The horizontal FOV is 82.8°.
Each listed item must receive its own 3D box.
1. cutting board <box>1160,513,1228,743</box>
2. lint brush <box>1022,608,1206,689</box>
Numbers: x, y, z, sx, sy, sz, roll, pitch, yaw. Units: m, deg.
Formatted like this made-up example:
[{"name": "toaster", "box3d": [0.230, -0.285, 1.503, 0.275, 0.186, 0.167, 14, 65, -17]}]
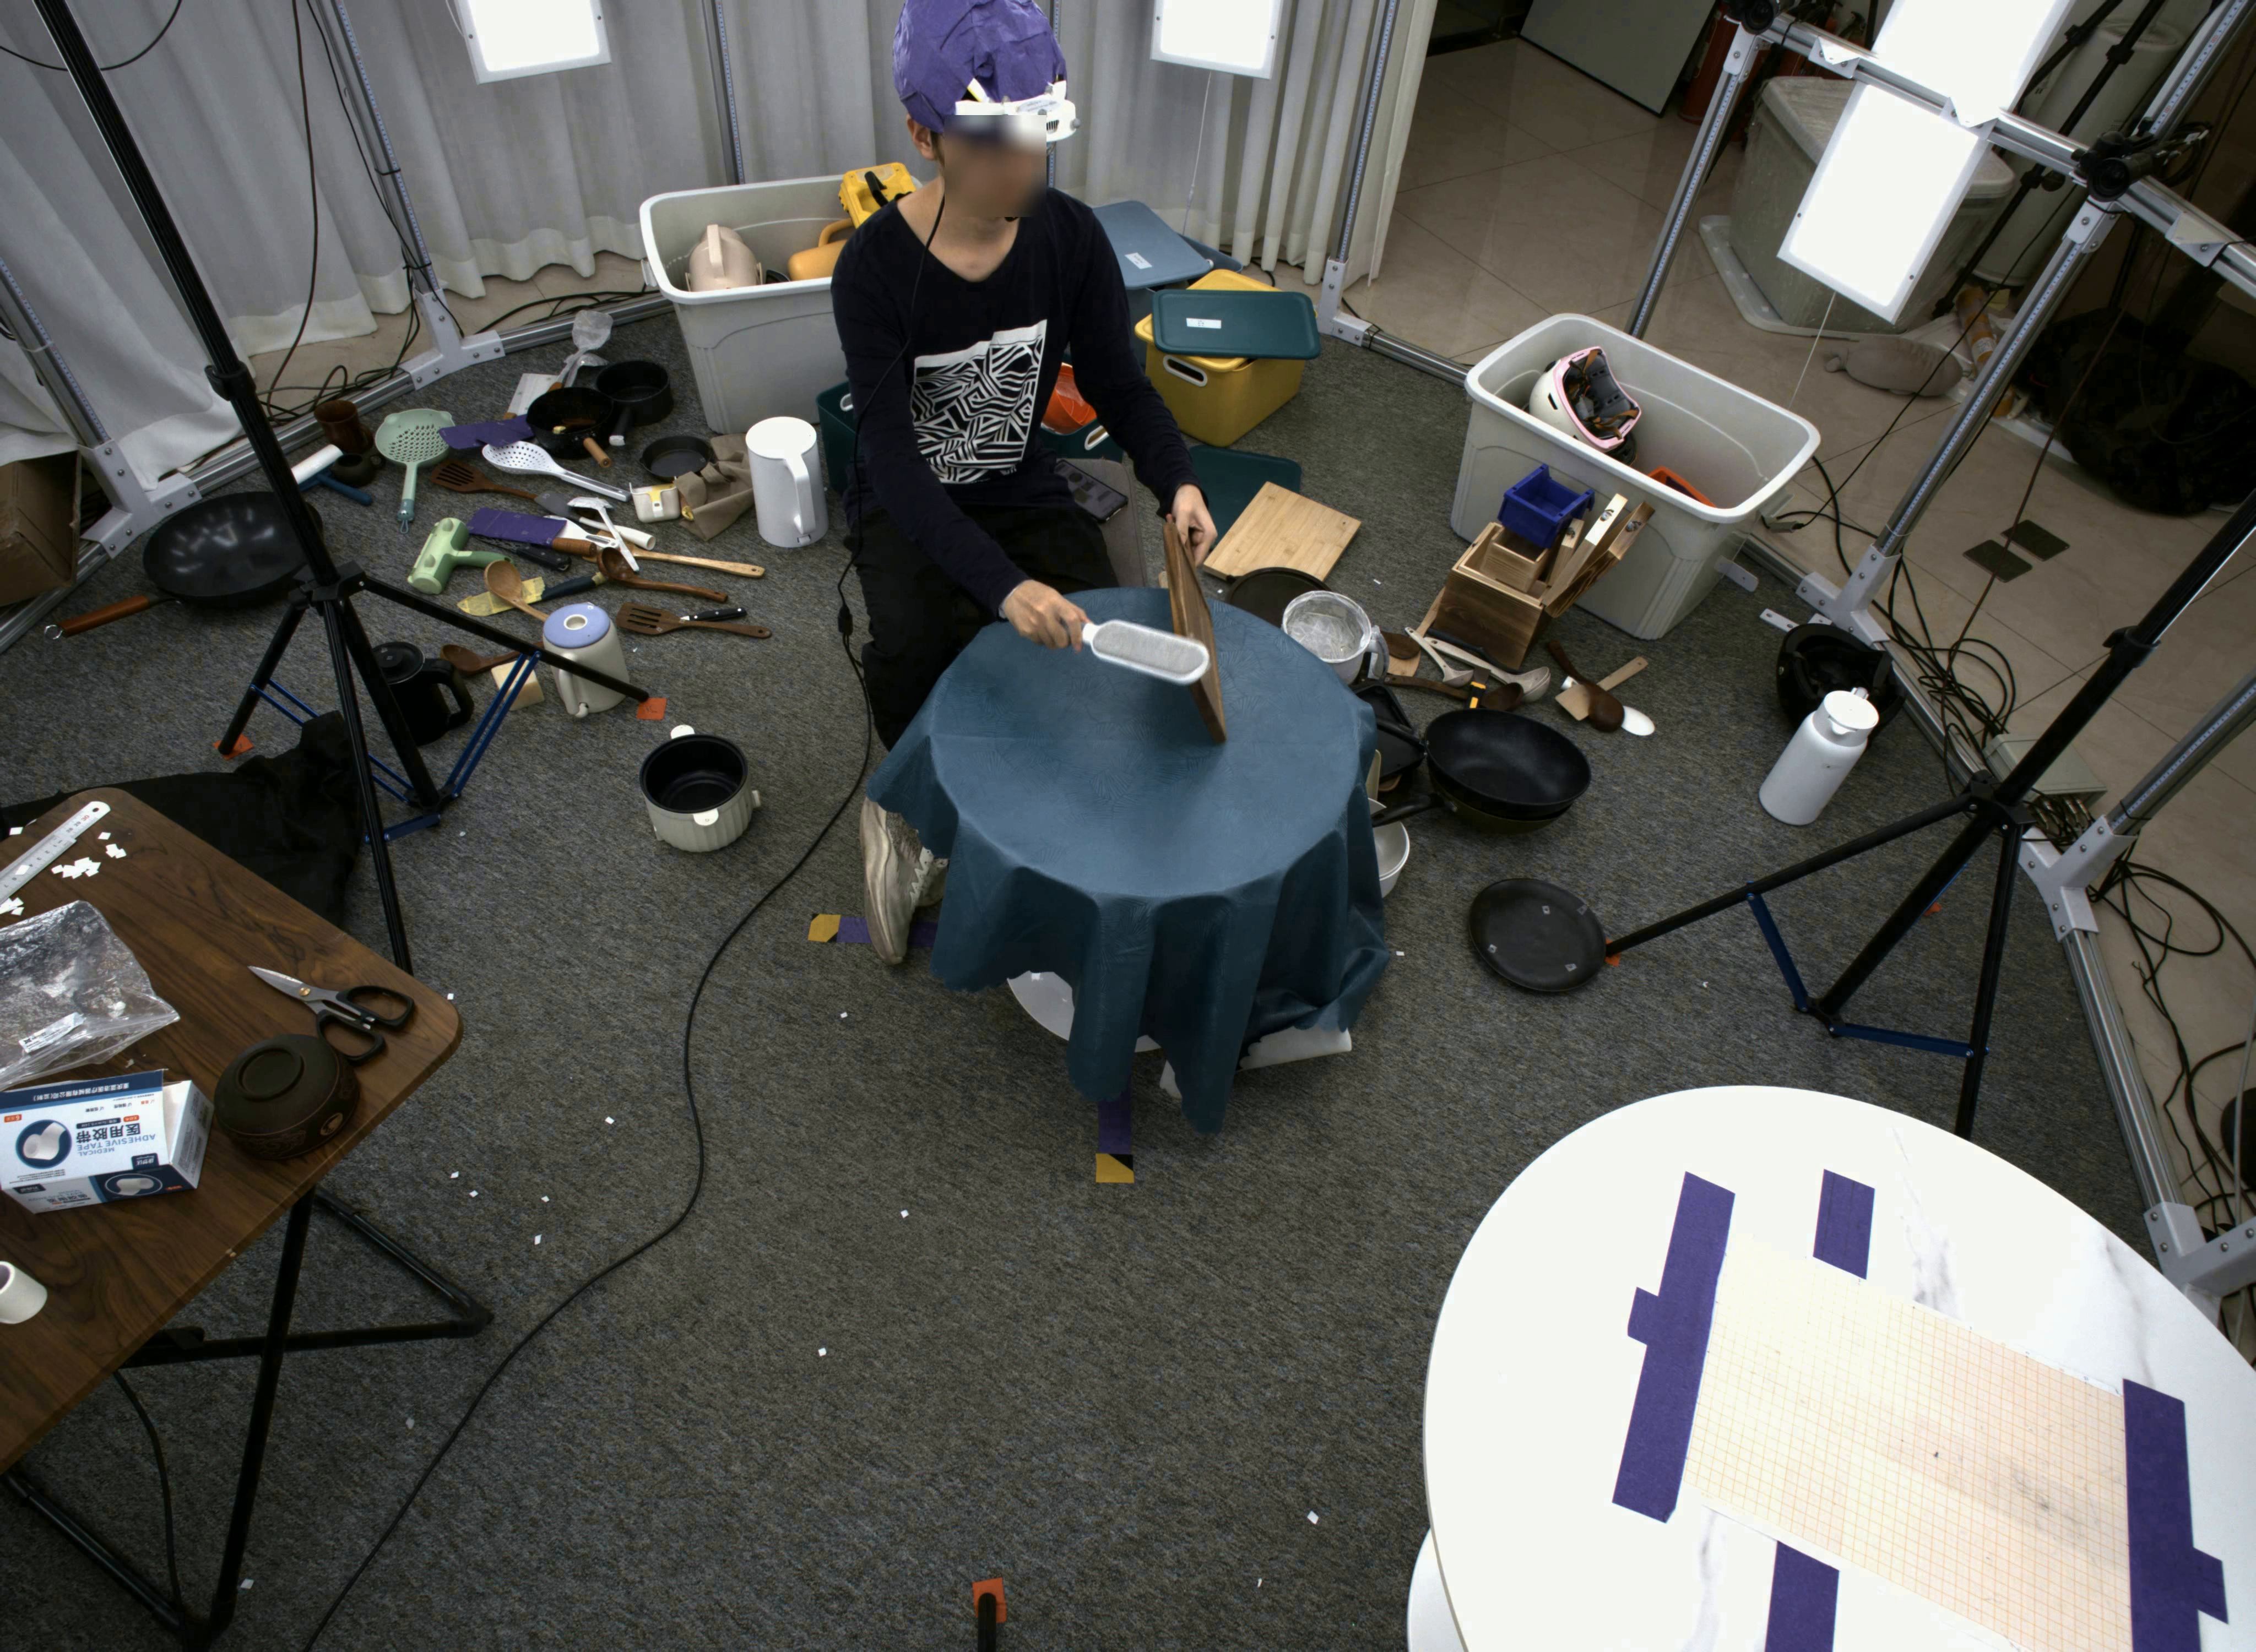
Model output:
[{"name": "cutting board", "box3d": [0.088, -0.307, 1.799, 0.023, 0.196, 0.361, -15, 53, 14]}, {"name": "lint brush", "box3d": [-0.025, -0.240, 1.674, 0.313, 0.020, 0.060, 23, 81, 36]}]
